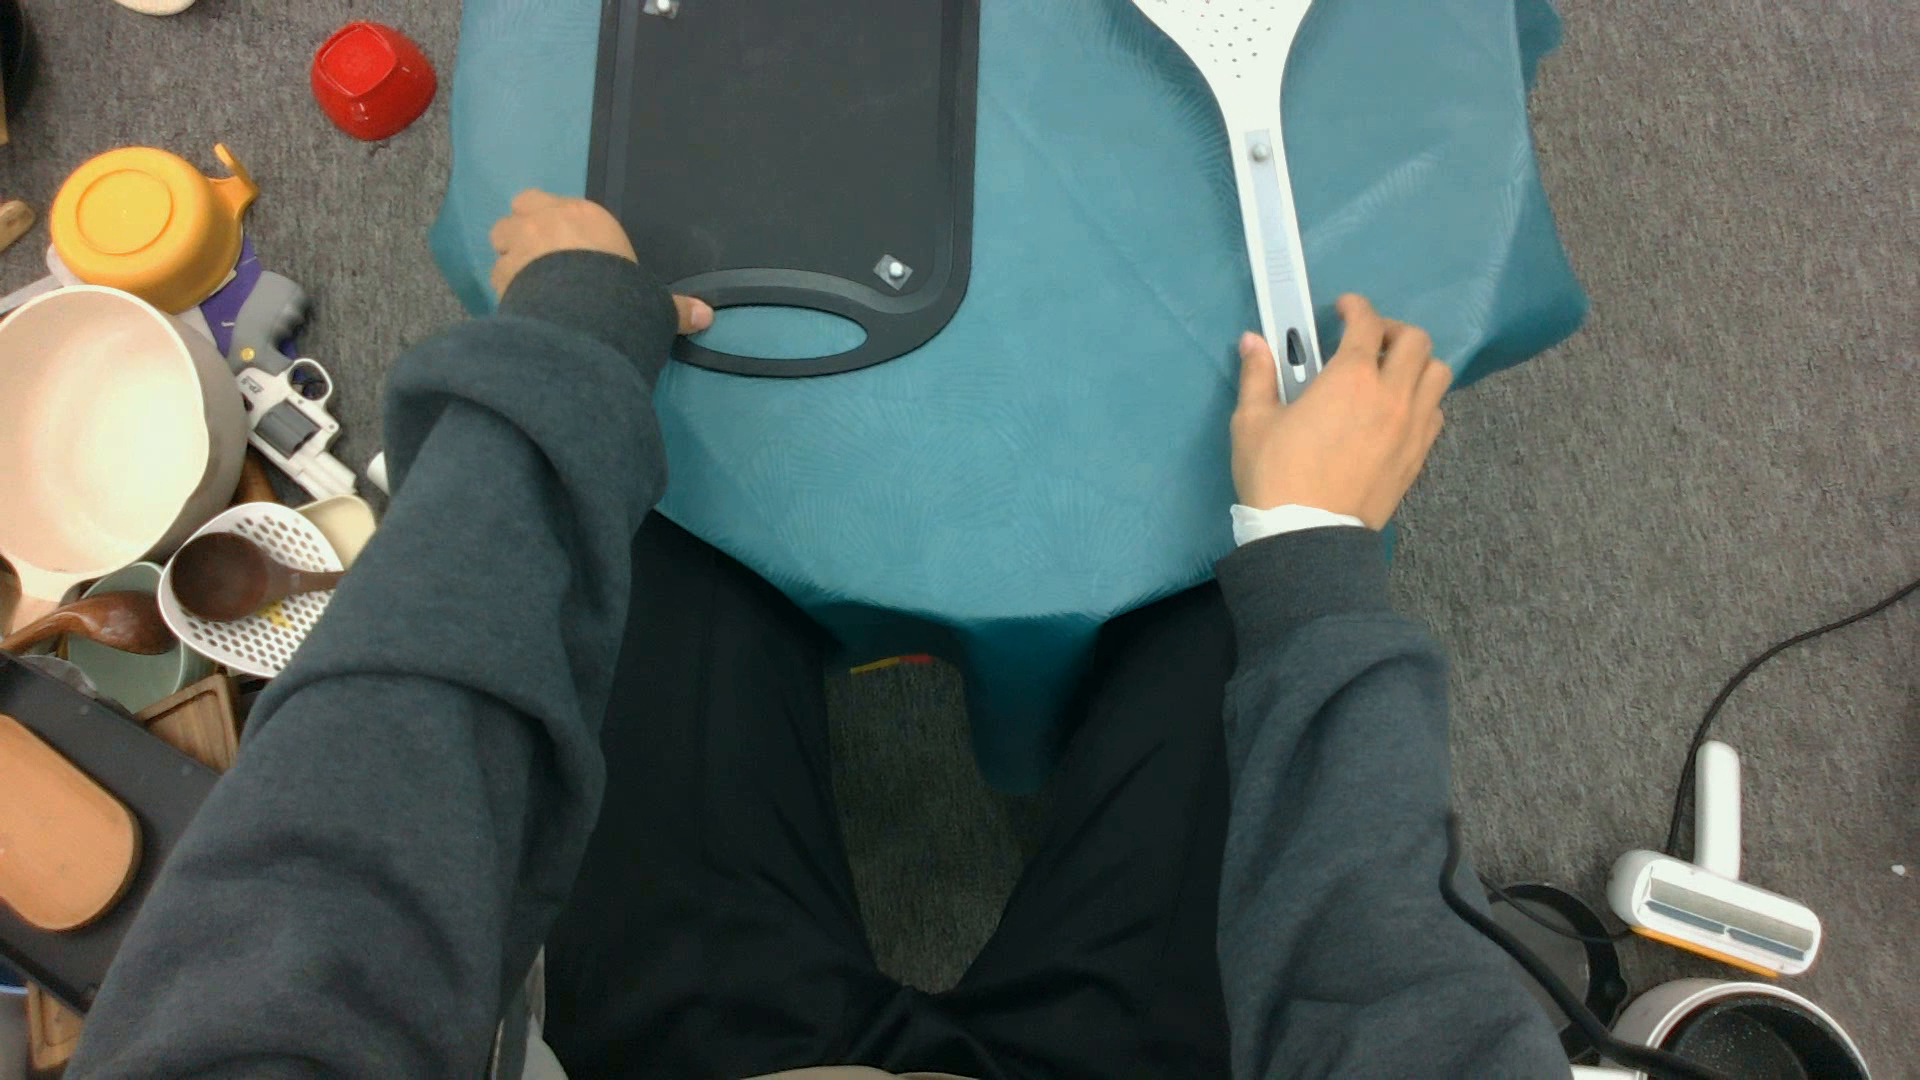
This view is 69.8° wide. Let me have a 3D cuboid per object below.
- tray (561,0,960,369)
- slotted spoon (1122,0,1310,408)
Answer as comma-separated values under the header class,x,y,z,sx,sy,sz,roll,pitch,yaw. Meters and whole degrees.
class,x,y,z,sx,sy,sz,roll,pitch,yaw
tray,-0.106,-0.251,0.760,0.211,0.010,0.326,2,79,-2
slotted spoon,0.145,-0.244,0.751,0.136,0.045,0.350,-10,81,-3
